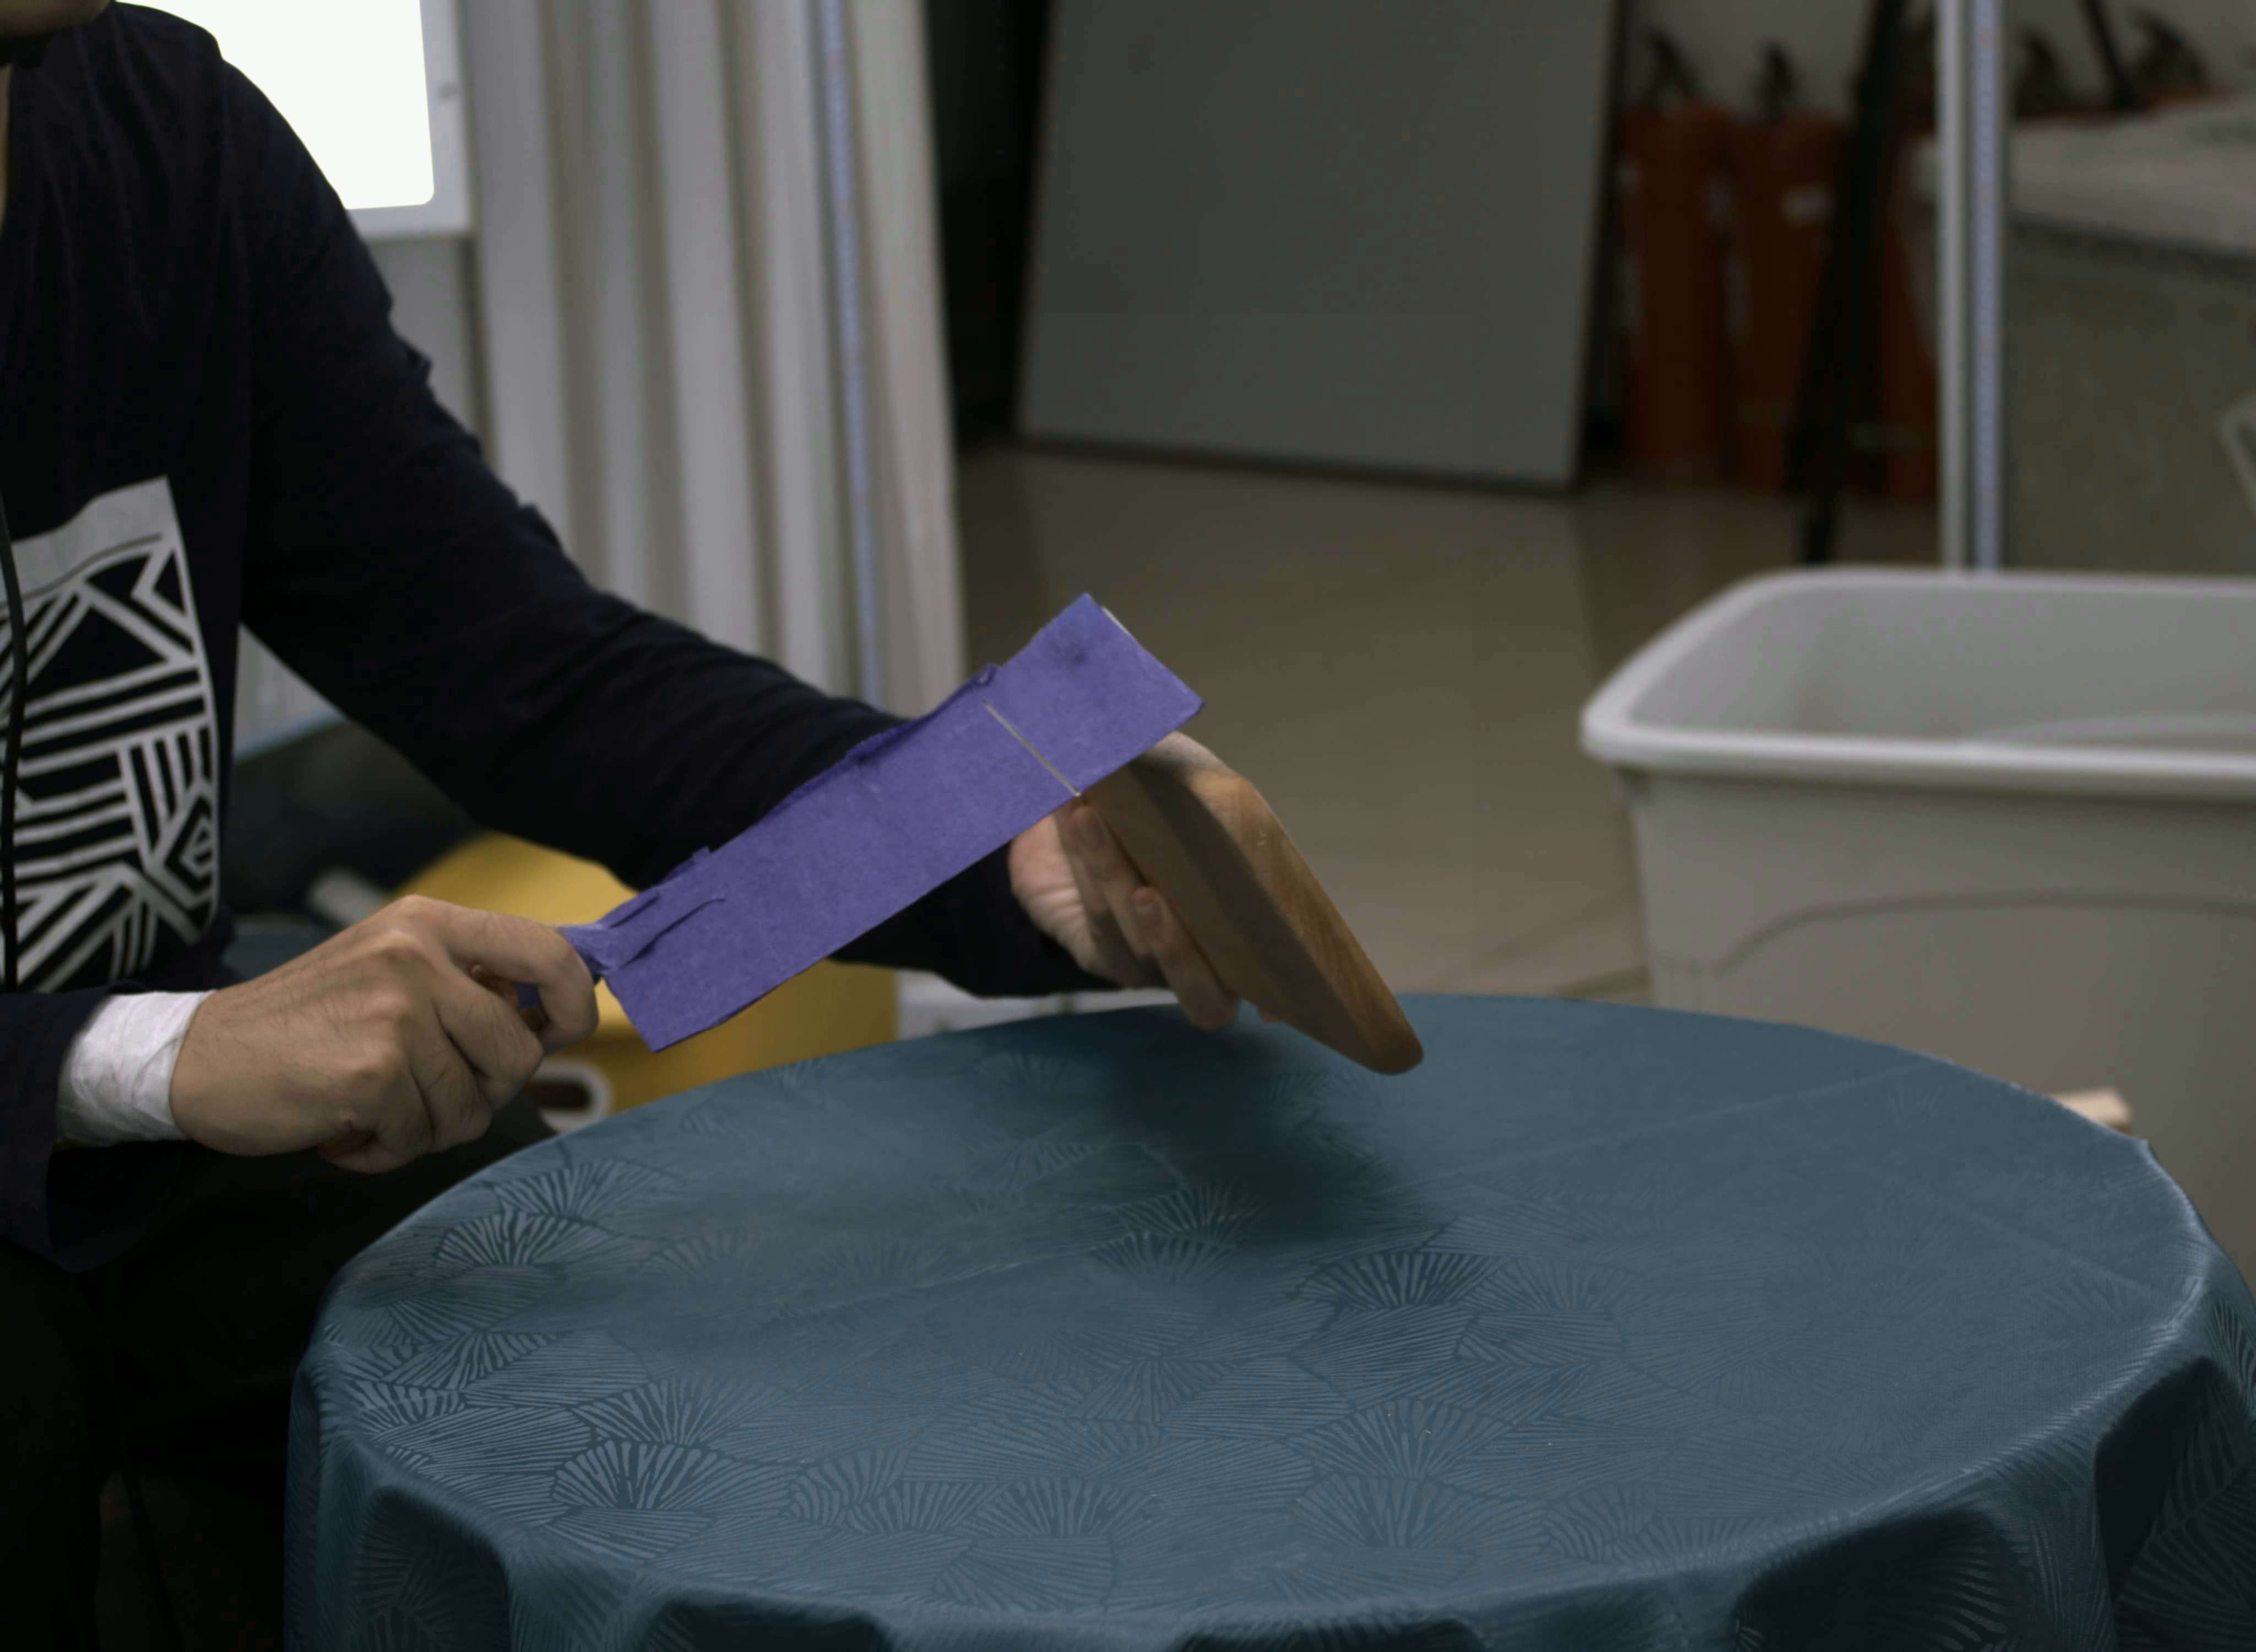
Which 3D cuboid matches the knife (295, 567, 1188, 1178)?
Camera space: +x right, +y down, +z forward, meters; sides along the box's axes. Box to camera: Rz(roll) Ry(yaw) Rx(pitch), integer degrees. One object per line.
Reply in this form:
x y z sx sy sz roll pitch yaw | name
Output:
-0.122 0.022 1.715 0.313 0.032 0.105 -36 31 -4 | knife

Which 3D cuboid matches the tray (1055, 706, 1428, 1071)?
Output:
0.032 0.018 1.806 0.022 0.131 0.252 -32 10 -9 | tray
